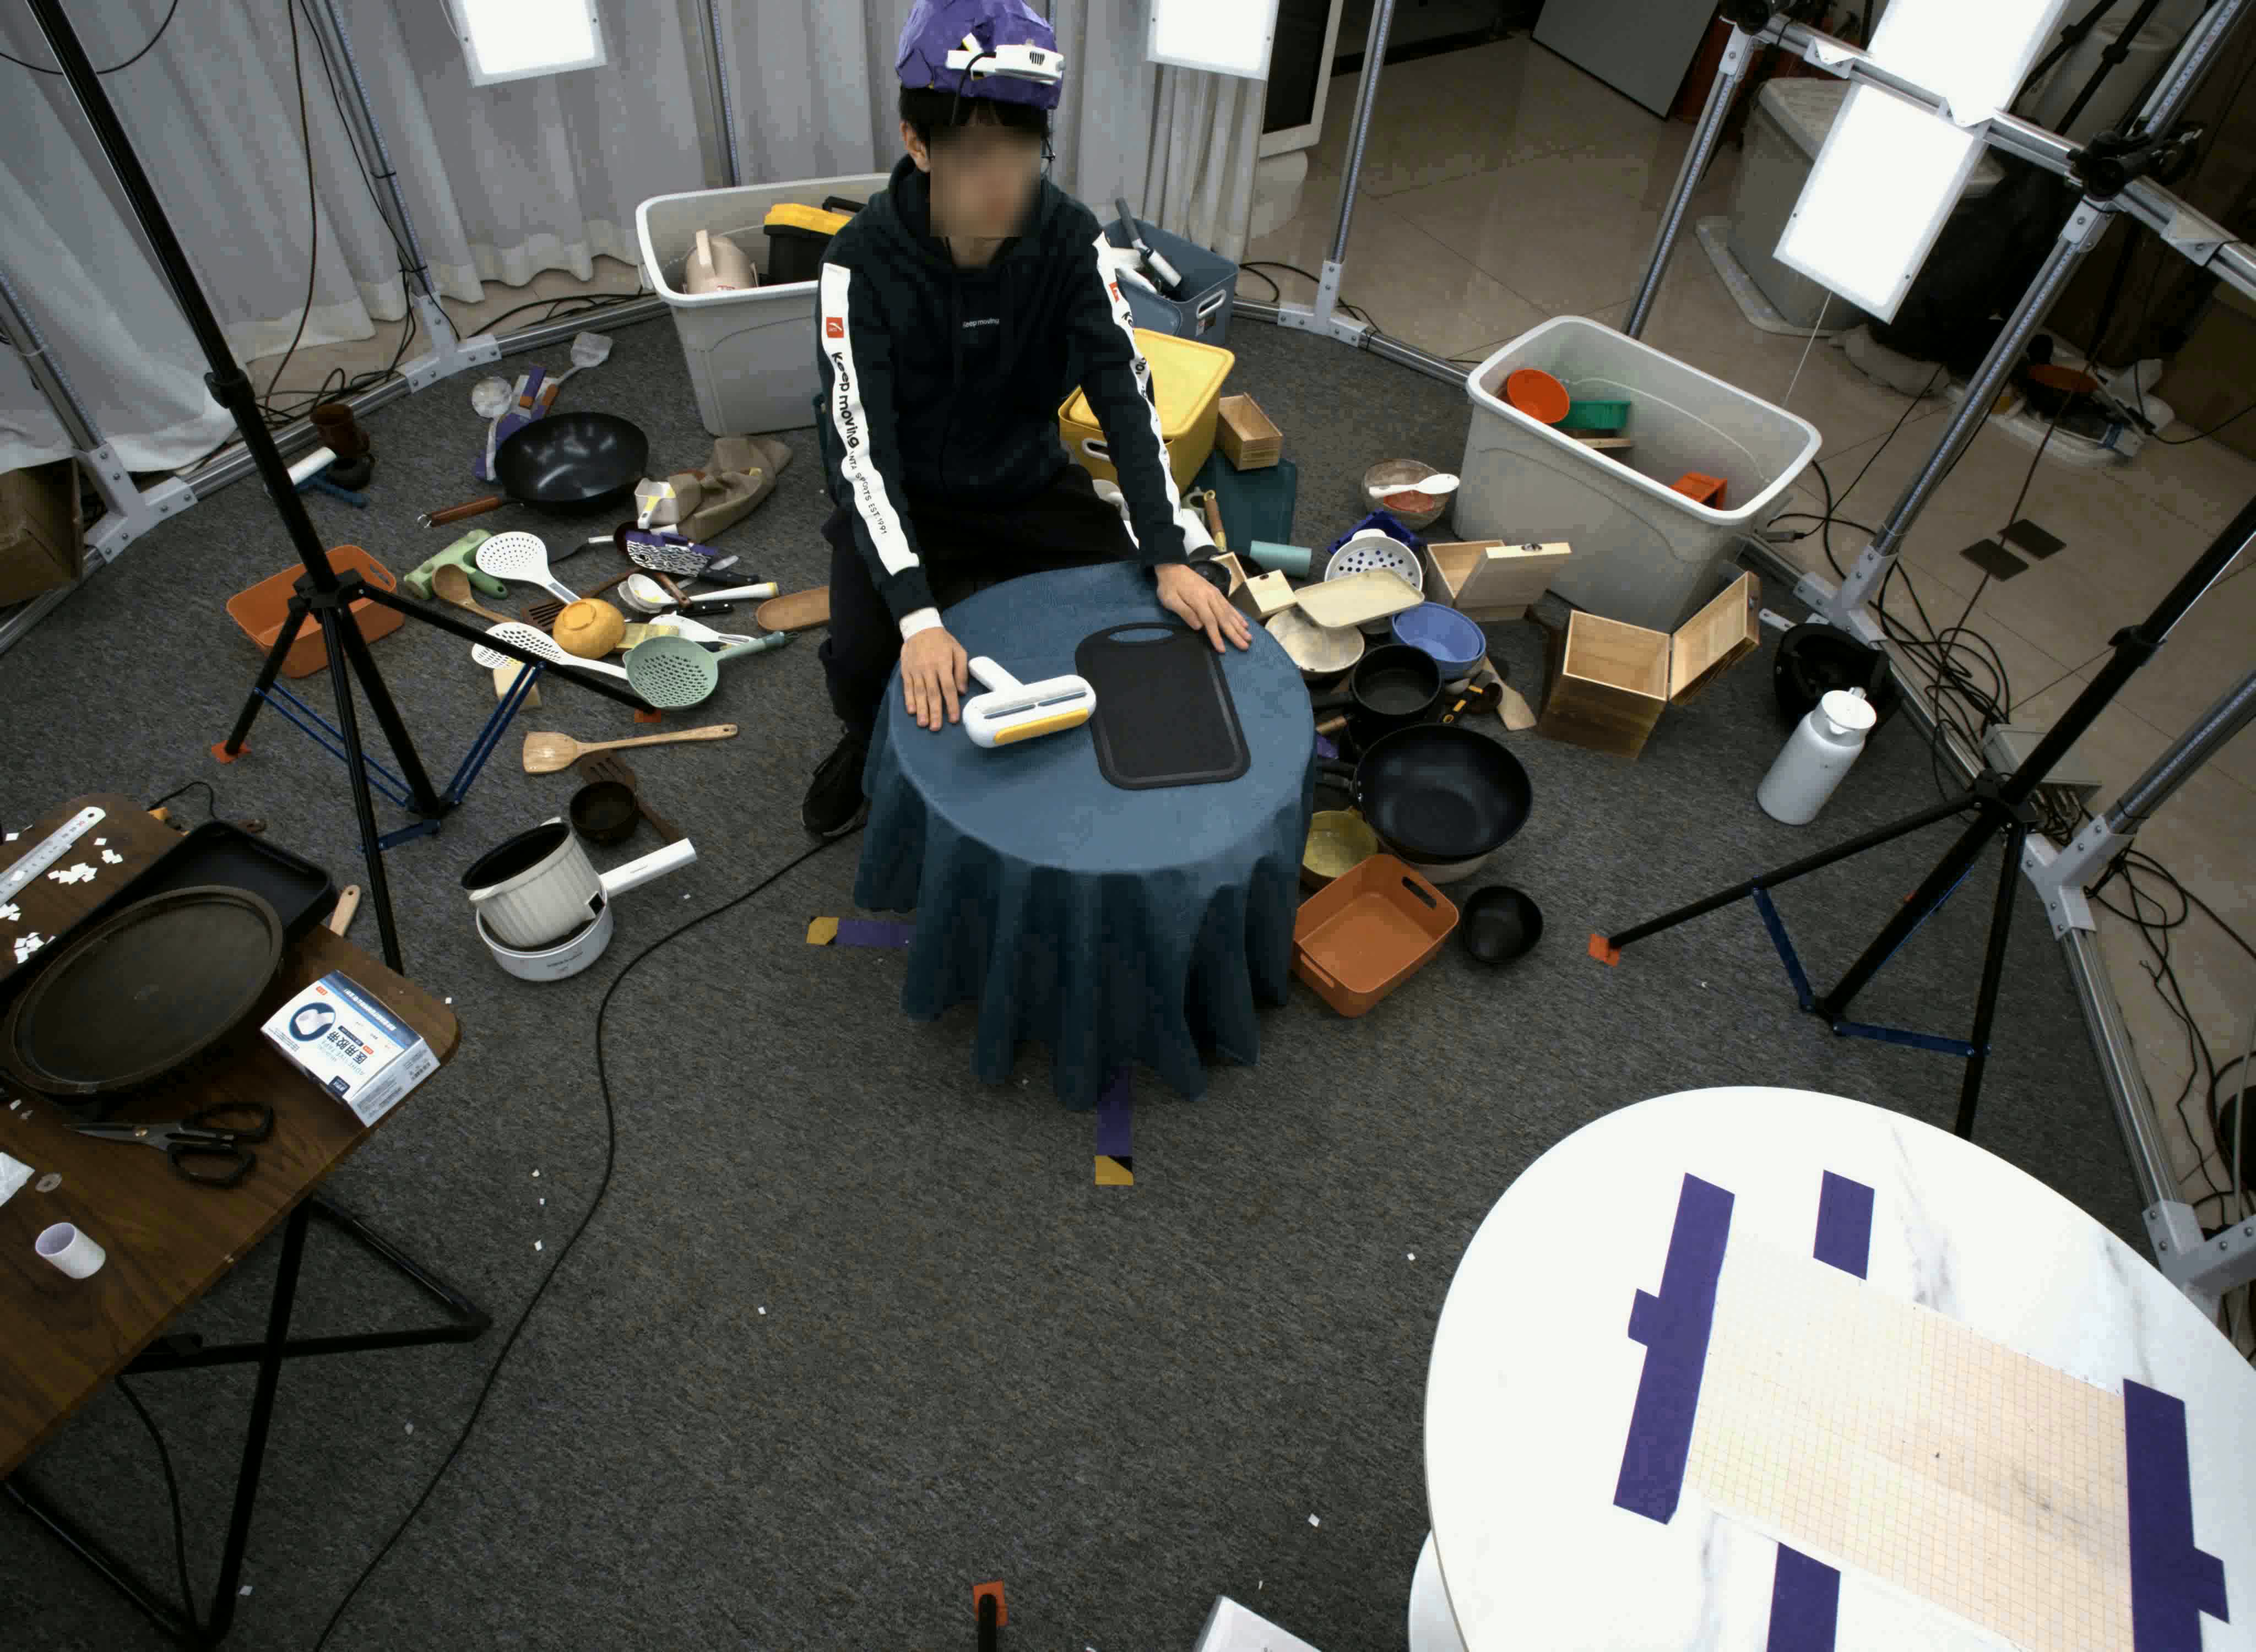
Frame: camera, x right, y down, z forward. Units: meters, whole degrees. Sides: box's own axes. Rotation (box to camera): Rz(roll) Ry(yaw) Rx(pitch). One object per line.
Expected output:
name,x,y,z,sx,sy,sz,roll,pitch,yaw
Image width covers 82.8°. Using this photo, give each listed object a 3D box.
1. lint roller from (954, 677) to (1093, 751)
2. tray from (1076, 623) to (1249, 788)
lint roller,-0.167,-0.174,1.789,0.193,0.072,0.196,-14,37,-23
tray,0.043,-0.181,1.823,0.211,0.009,0.333,-5,50,-8
